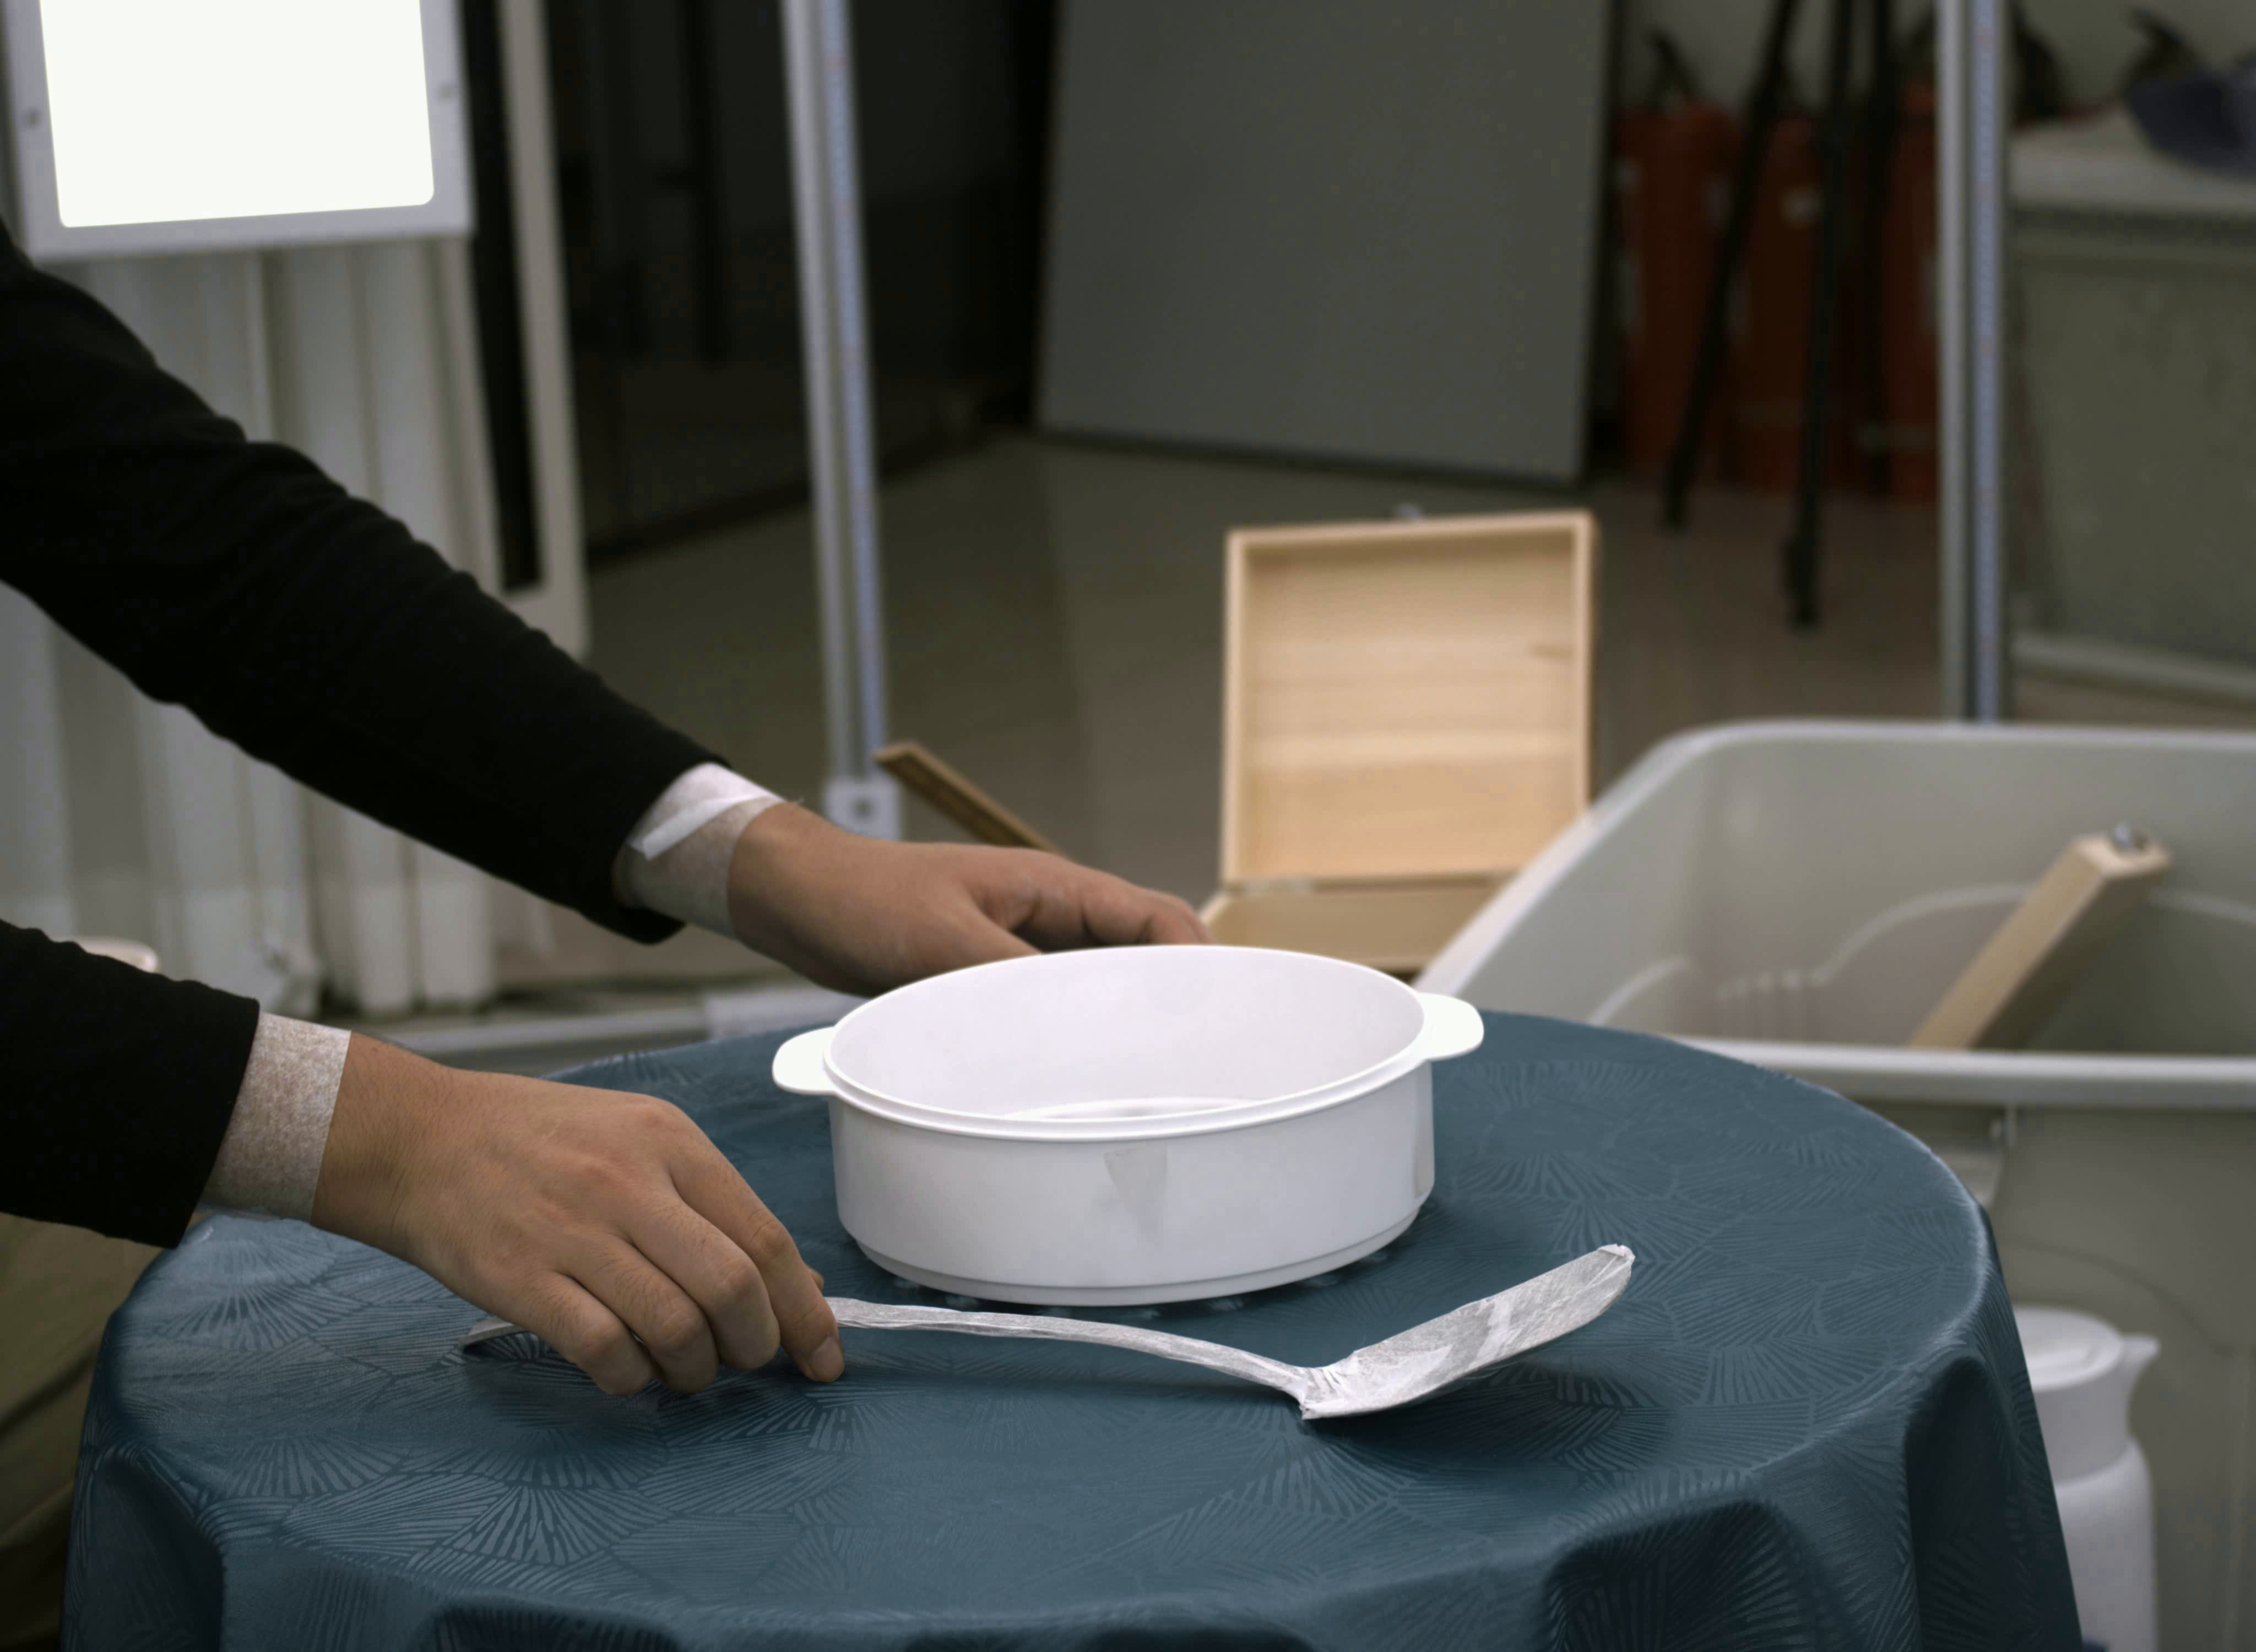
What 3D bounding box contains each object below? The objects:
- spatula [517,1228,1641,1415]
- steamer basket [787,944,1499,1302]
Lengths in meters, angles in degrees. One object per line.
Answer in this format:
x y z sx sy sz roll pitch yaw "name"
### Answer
-0.025 0.144 1.600 0.364 0.045 0.098 2 16 21 "spatula"
0.007 0.095 1.727 0.228 0.070 0.202 -4 13 3 "steamer basket"
